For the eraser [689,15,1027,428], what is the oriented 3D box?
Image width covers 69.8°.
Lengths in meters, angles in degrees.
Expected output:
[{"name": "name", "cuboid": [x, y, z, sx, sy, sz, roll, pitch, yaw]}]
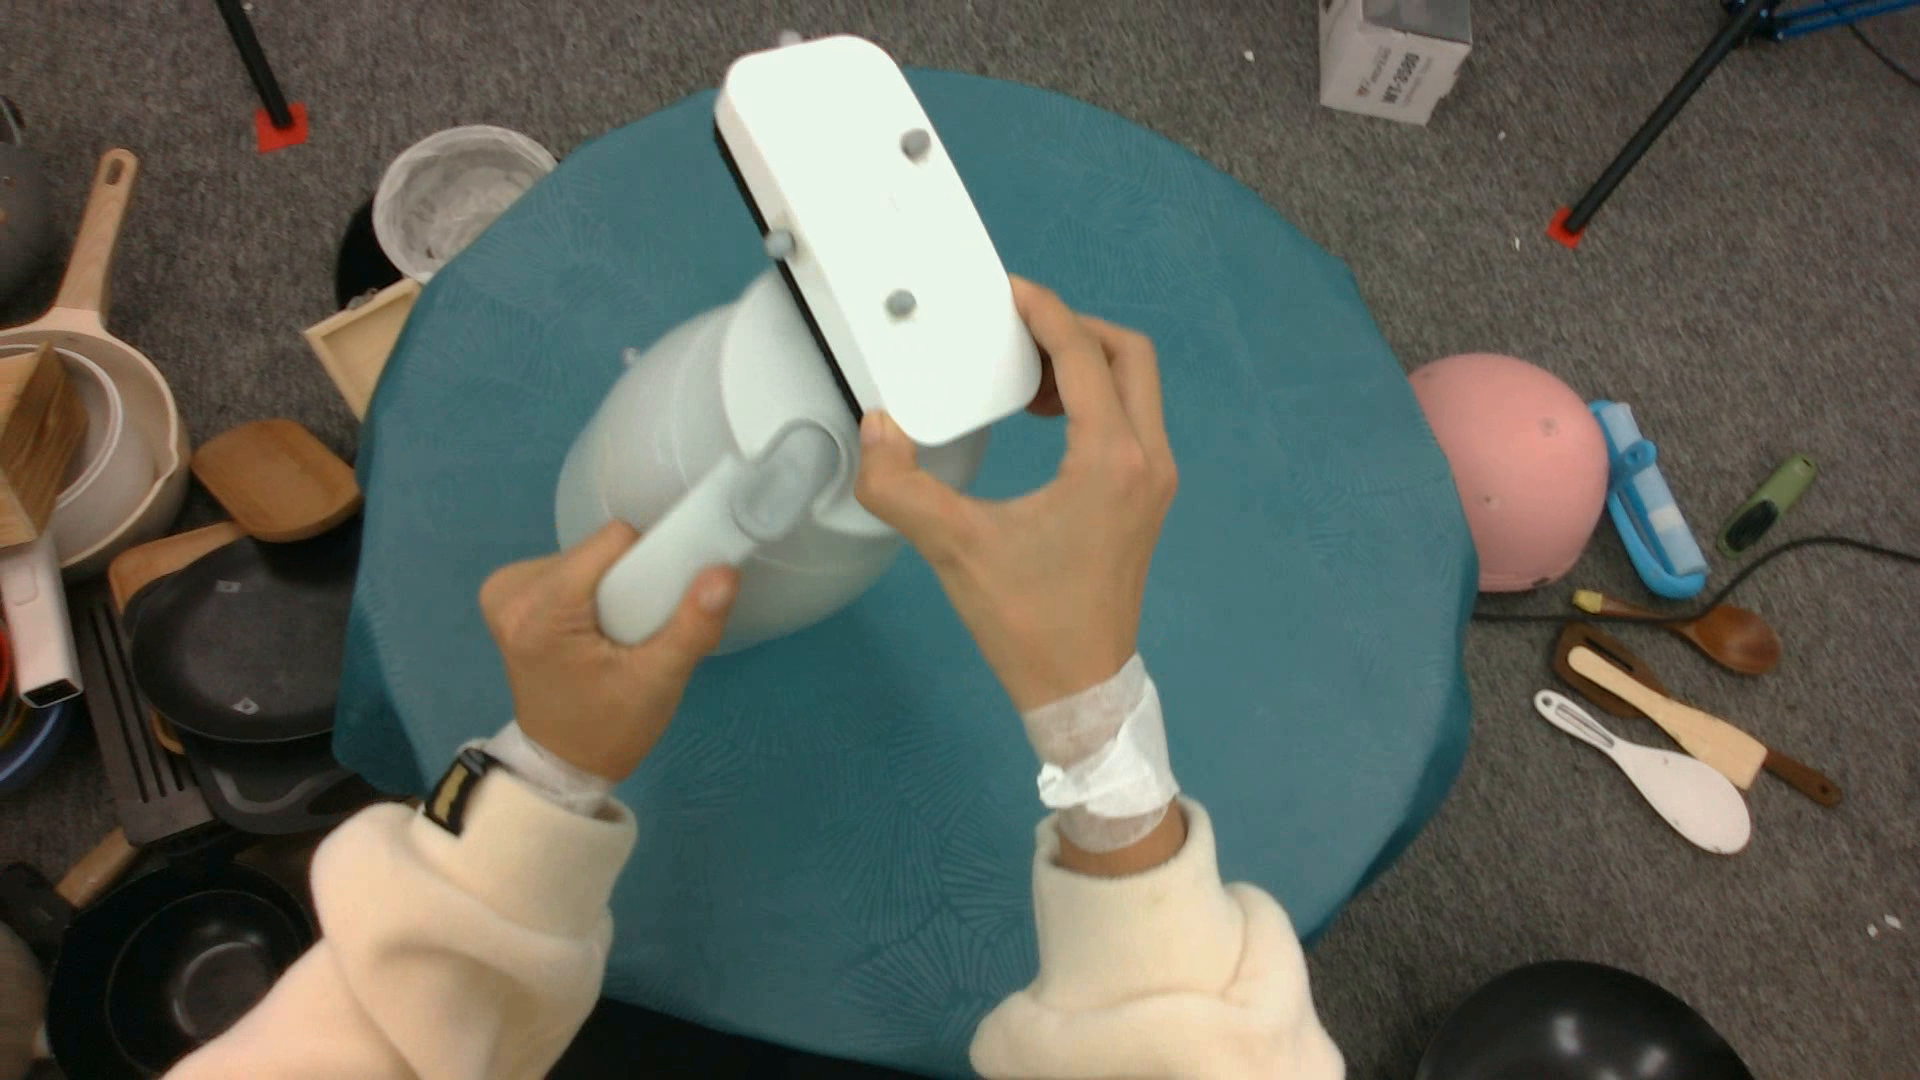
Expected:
[{"name": "eraser", "cuboid": [-0.033, -0.099, 0.427, 0.063, 0.034, 0.131, -27, 87, -31]}]

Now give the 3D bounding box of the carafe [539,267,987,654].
[{"name": "carafe", "cuboid": [-0.091, -0.020, 0.535, 0.132, 0.248, 0.168, 48, 67, -12]}]
